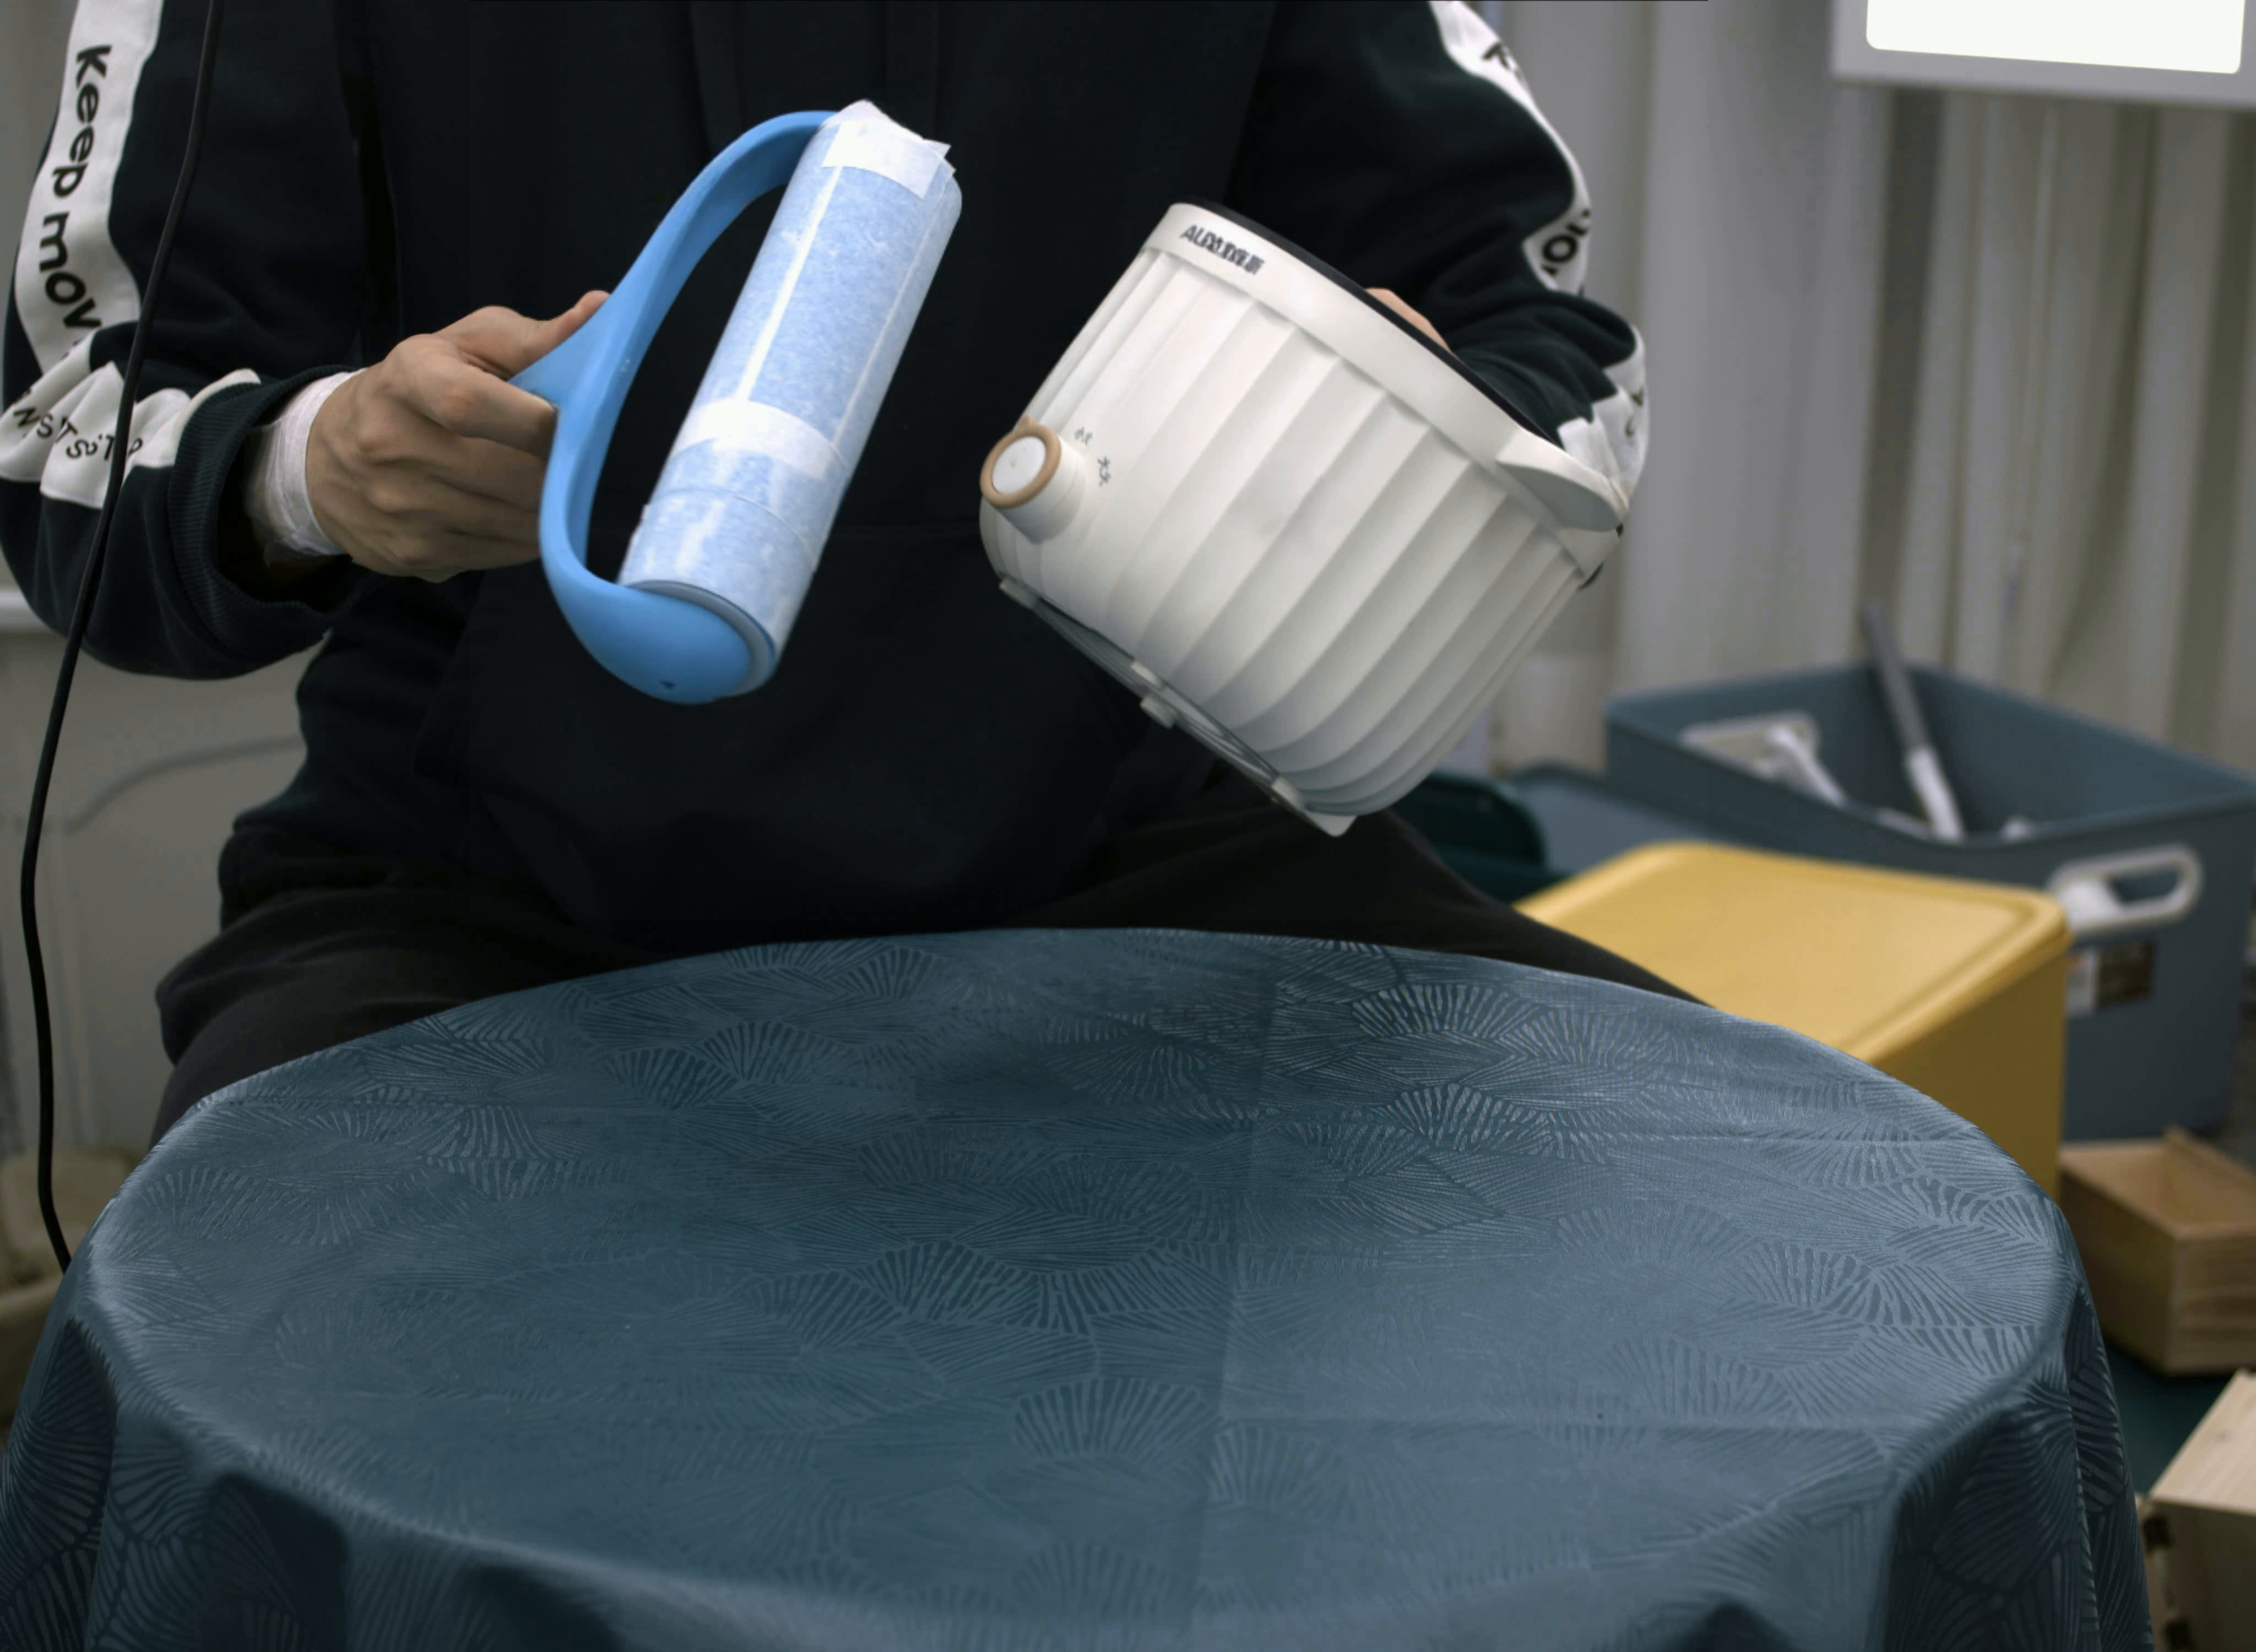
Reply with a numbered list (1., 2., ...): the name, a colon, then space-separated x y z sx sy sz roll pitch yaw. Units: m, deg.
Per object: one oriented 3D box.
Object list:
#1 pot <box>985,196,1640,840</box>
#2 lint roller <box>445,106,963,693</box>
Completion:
1. pot: 0.047 -0.096 1.698 0.237 0.142 0.193 32 -9 47
2. lint roller: -0.152 -0.122 1.619 0.178 0.069 0.227 -10 47 29
